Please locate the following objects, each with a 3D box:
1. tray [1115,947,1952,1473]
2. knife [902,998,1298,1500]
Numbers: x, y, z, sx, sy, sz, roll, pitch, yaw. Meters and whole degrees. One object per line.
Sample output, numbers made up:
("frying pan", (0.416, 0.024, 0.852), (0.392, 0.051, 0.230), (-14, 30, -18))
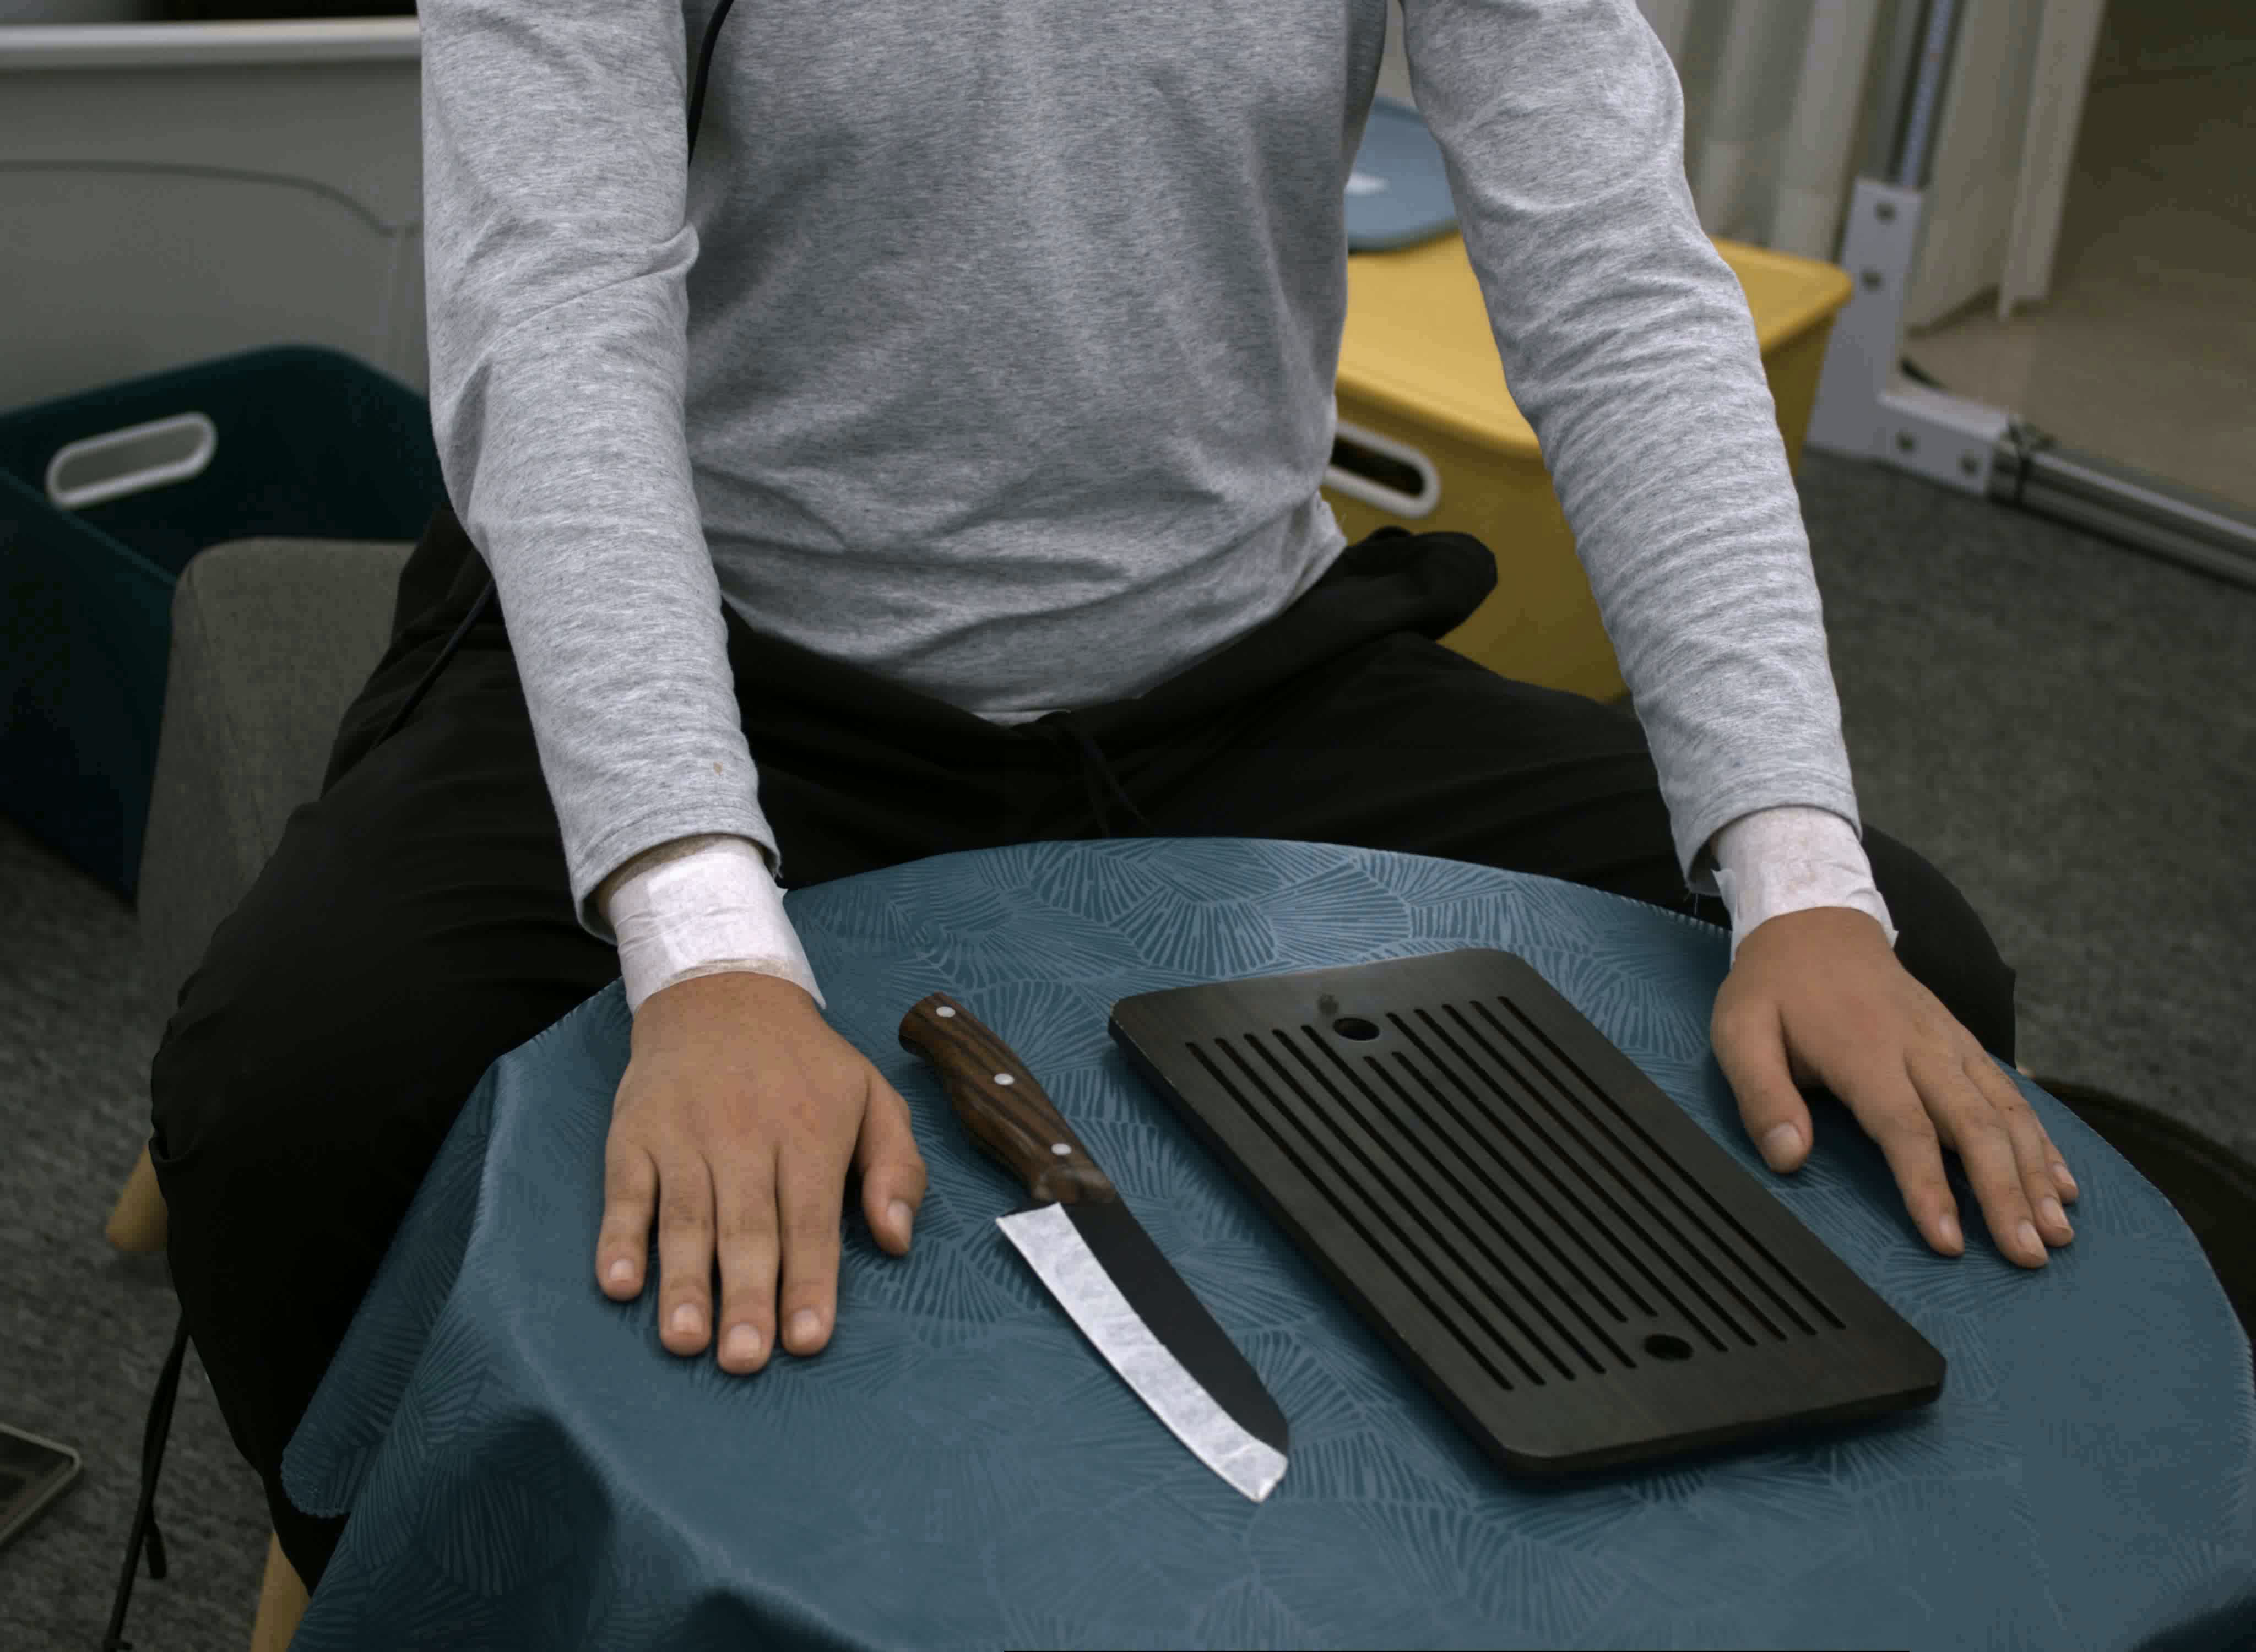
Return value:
("tray", (0.131, 0.127, 1.810), (0.169, 0.018, 0.309), (-7, 29, -25))
("knife", (-0.013, 0.138, 1.759), (0.050, 0.020, 0.292), (-11, 33, -21))
